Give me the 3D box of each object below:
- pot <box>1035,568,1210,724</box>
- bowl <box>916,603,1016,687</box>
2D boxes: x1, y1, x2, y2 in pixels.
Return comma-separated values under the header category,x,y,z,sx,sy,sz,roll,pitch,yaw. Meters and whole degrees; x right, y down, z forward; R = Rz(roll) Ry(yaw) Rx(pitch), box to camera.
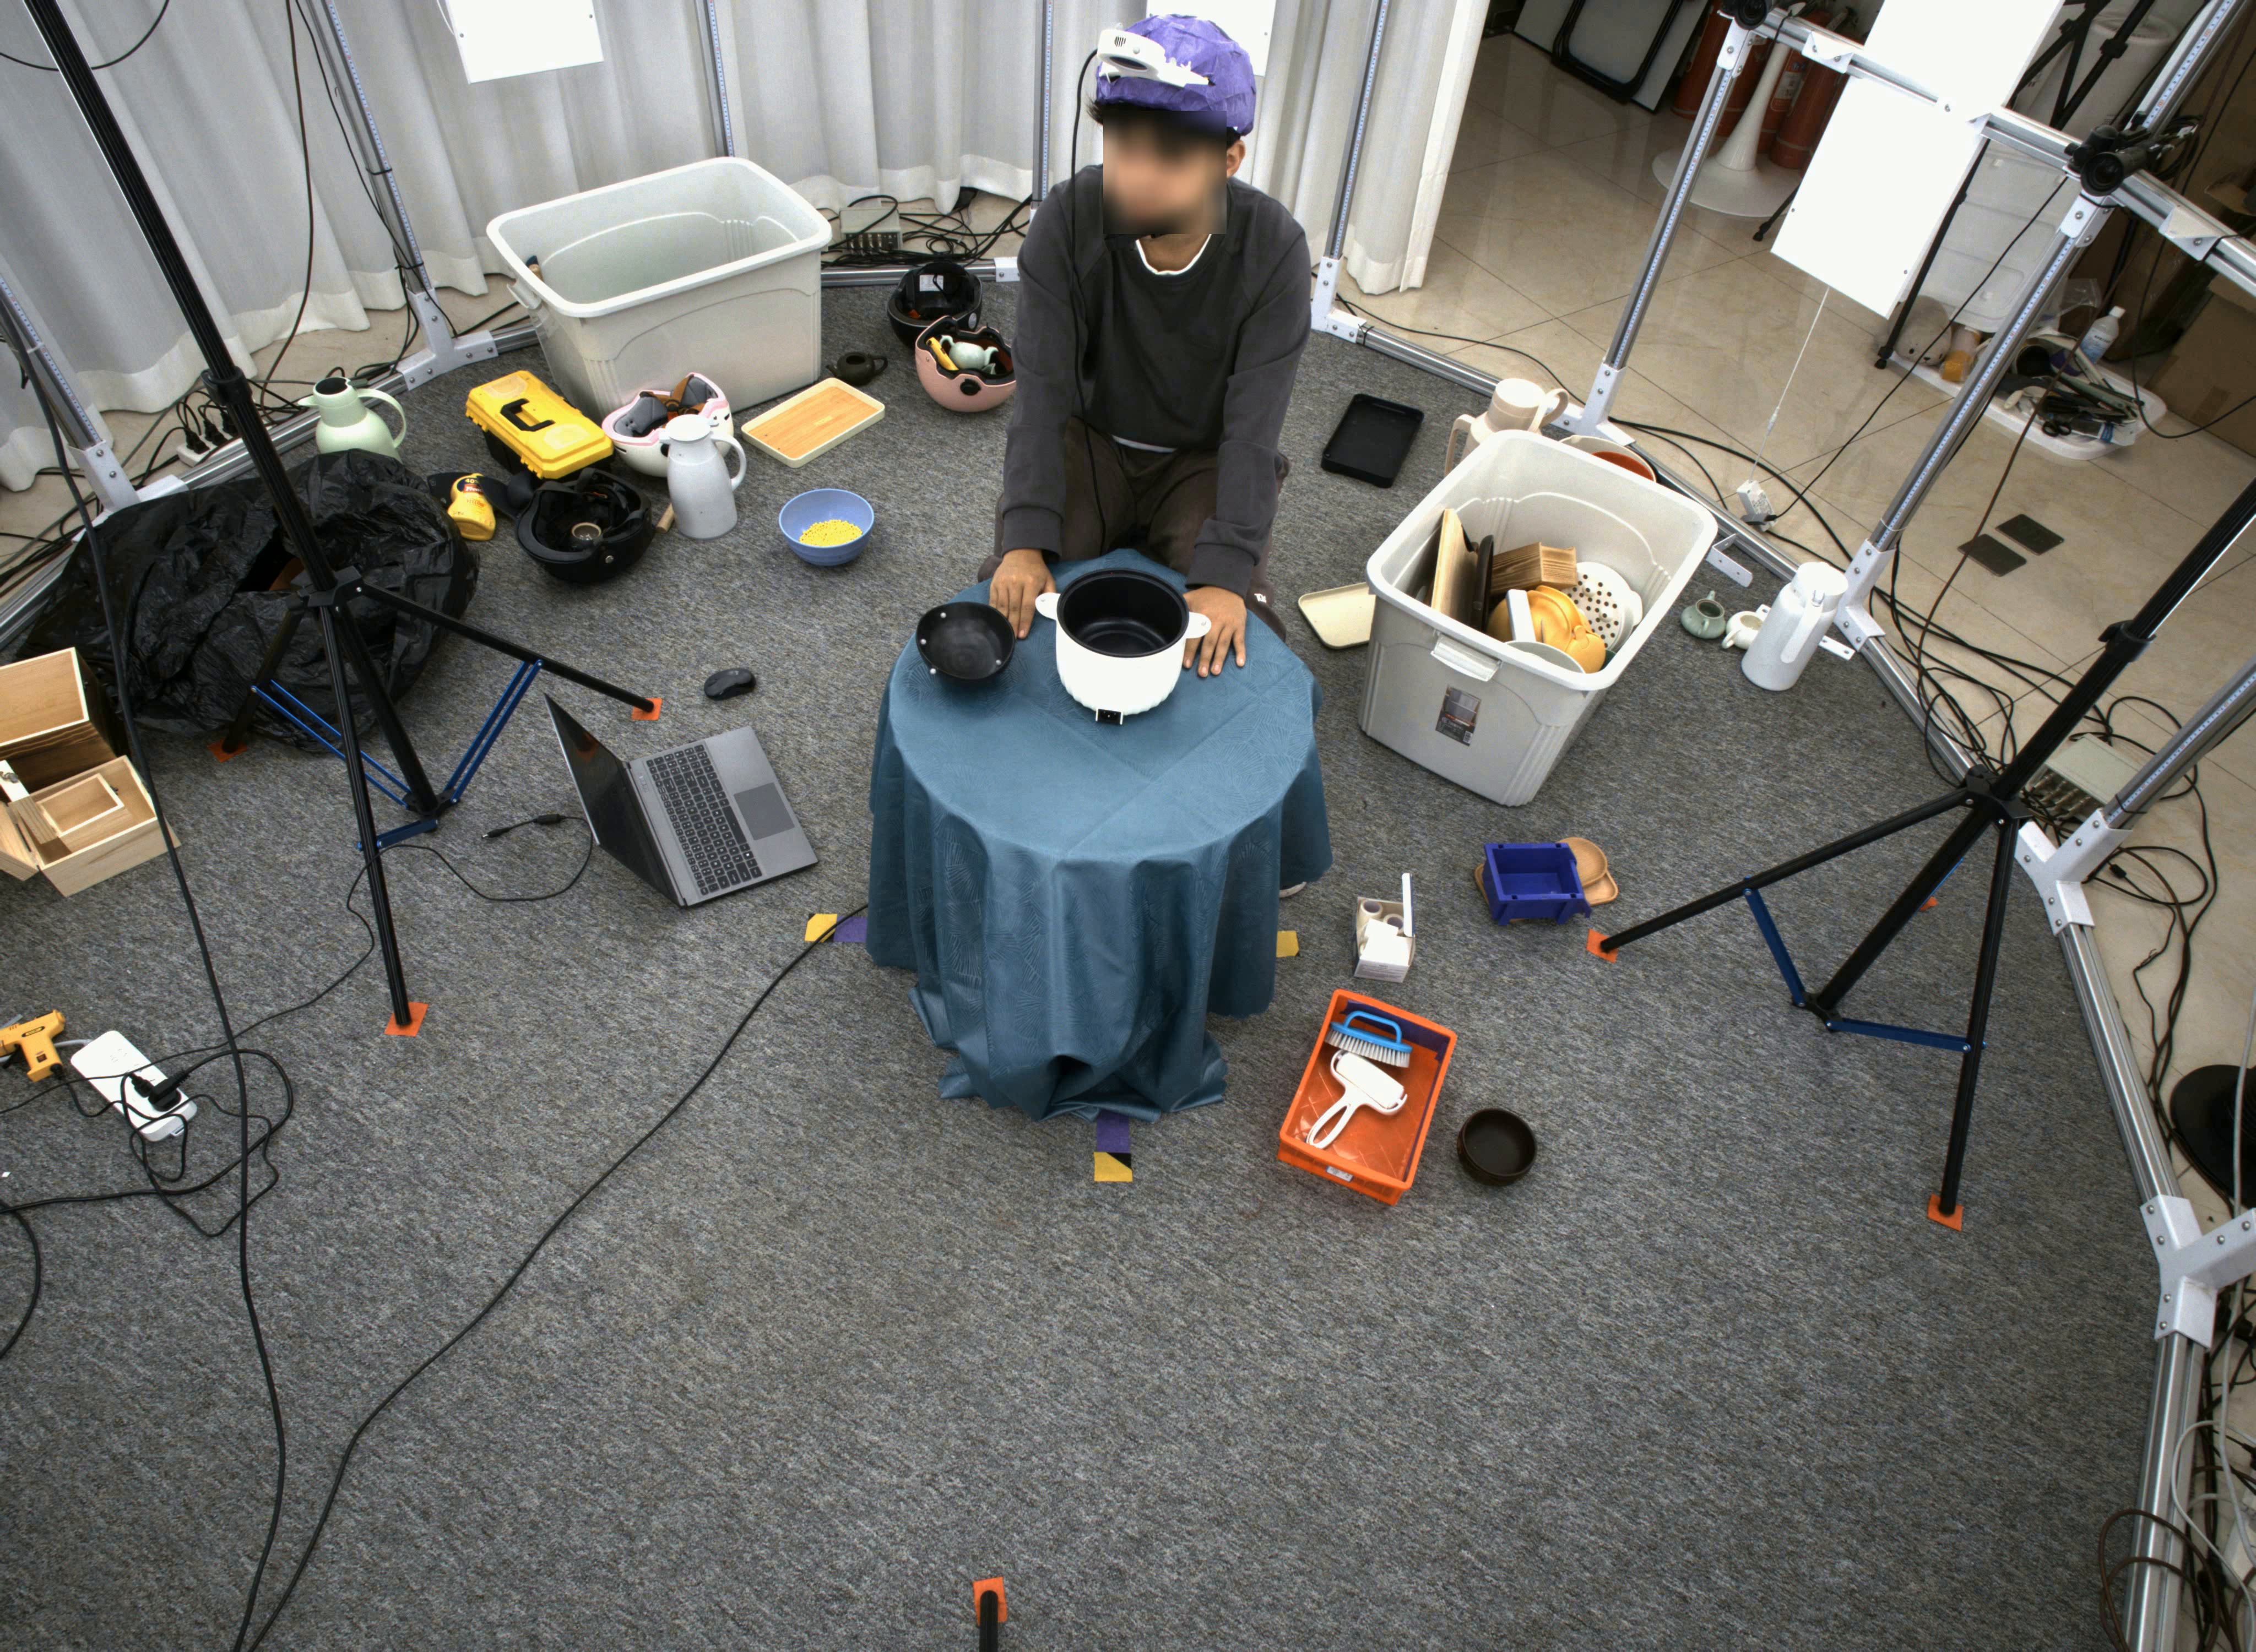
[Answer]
category,x,y,z,sx,sy,sz,roll,pitch,yaw
pot,-0.012,-0.254,1.796,0.240,0.139,0.195,8,52,1
bowl,-0.228,-0.248,1.822,0.137,0.065,0.174,-9,49,-13
